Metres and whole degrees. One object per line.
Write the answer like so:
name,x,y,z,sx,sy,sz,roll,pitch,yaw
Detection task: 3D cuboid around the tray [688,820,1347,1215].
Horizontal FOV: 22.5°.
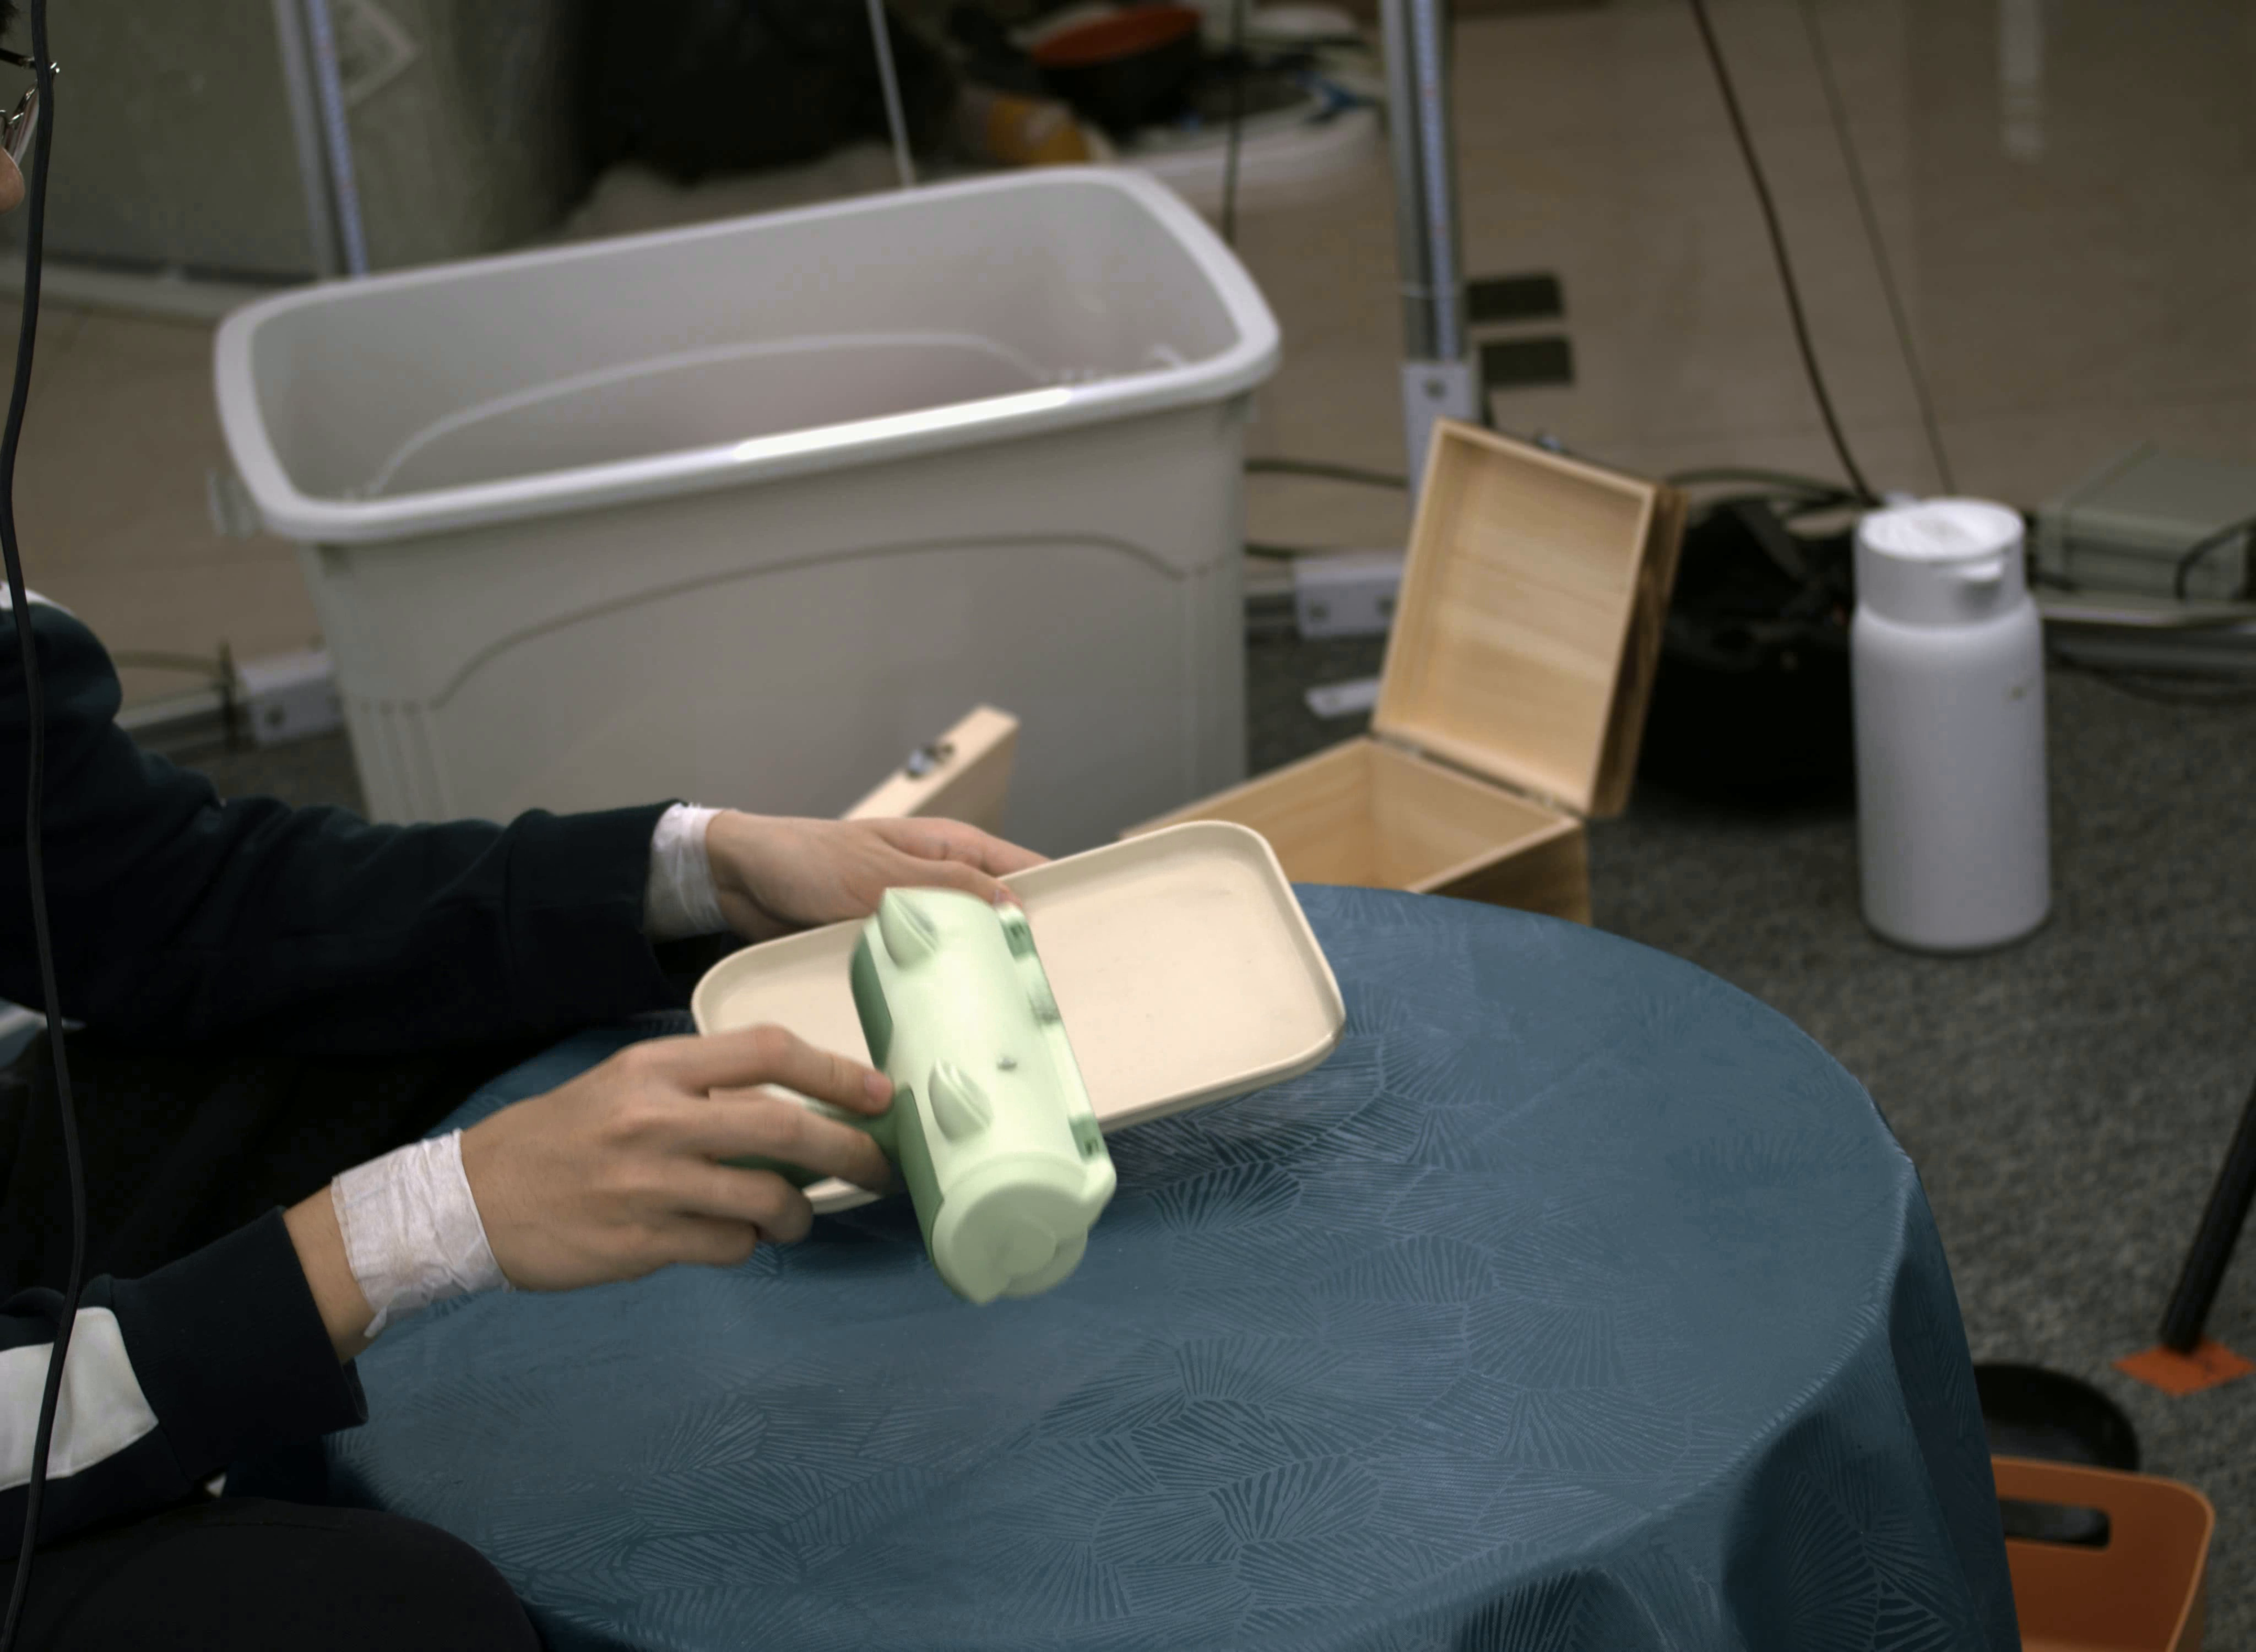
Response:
tray,-0.044,0.074,2.186,0.239,0.018,0.168,-16,35,-6

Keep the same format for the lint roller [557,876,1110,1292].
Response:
lint roller,-0.111,0.091,1.936,0.183,0.083,0.195,-13,32,-5
